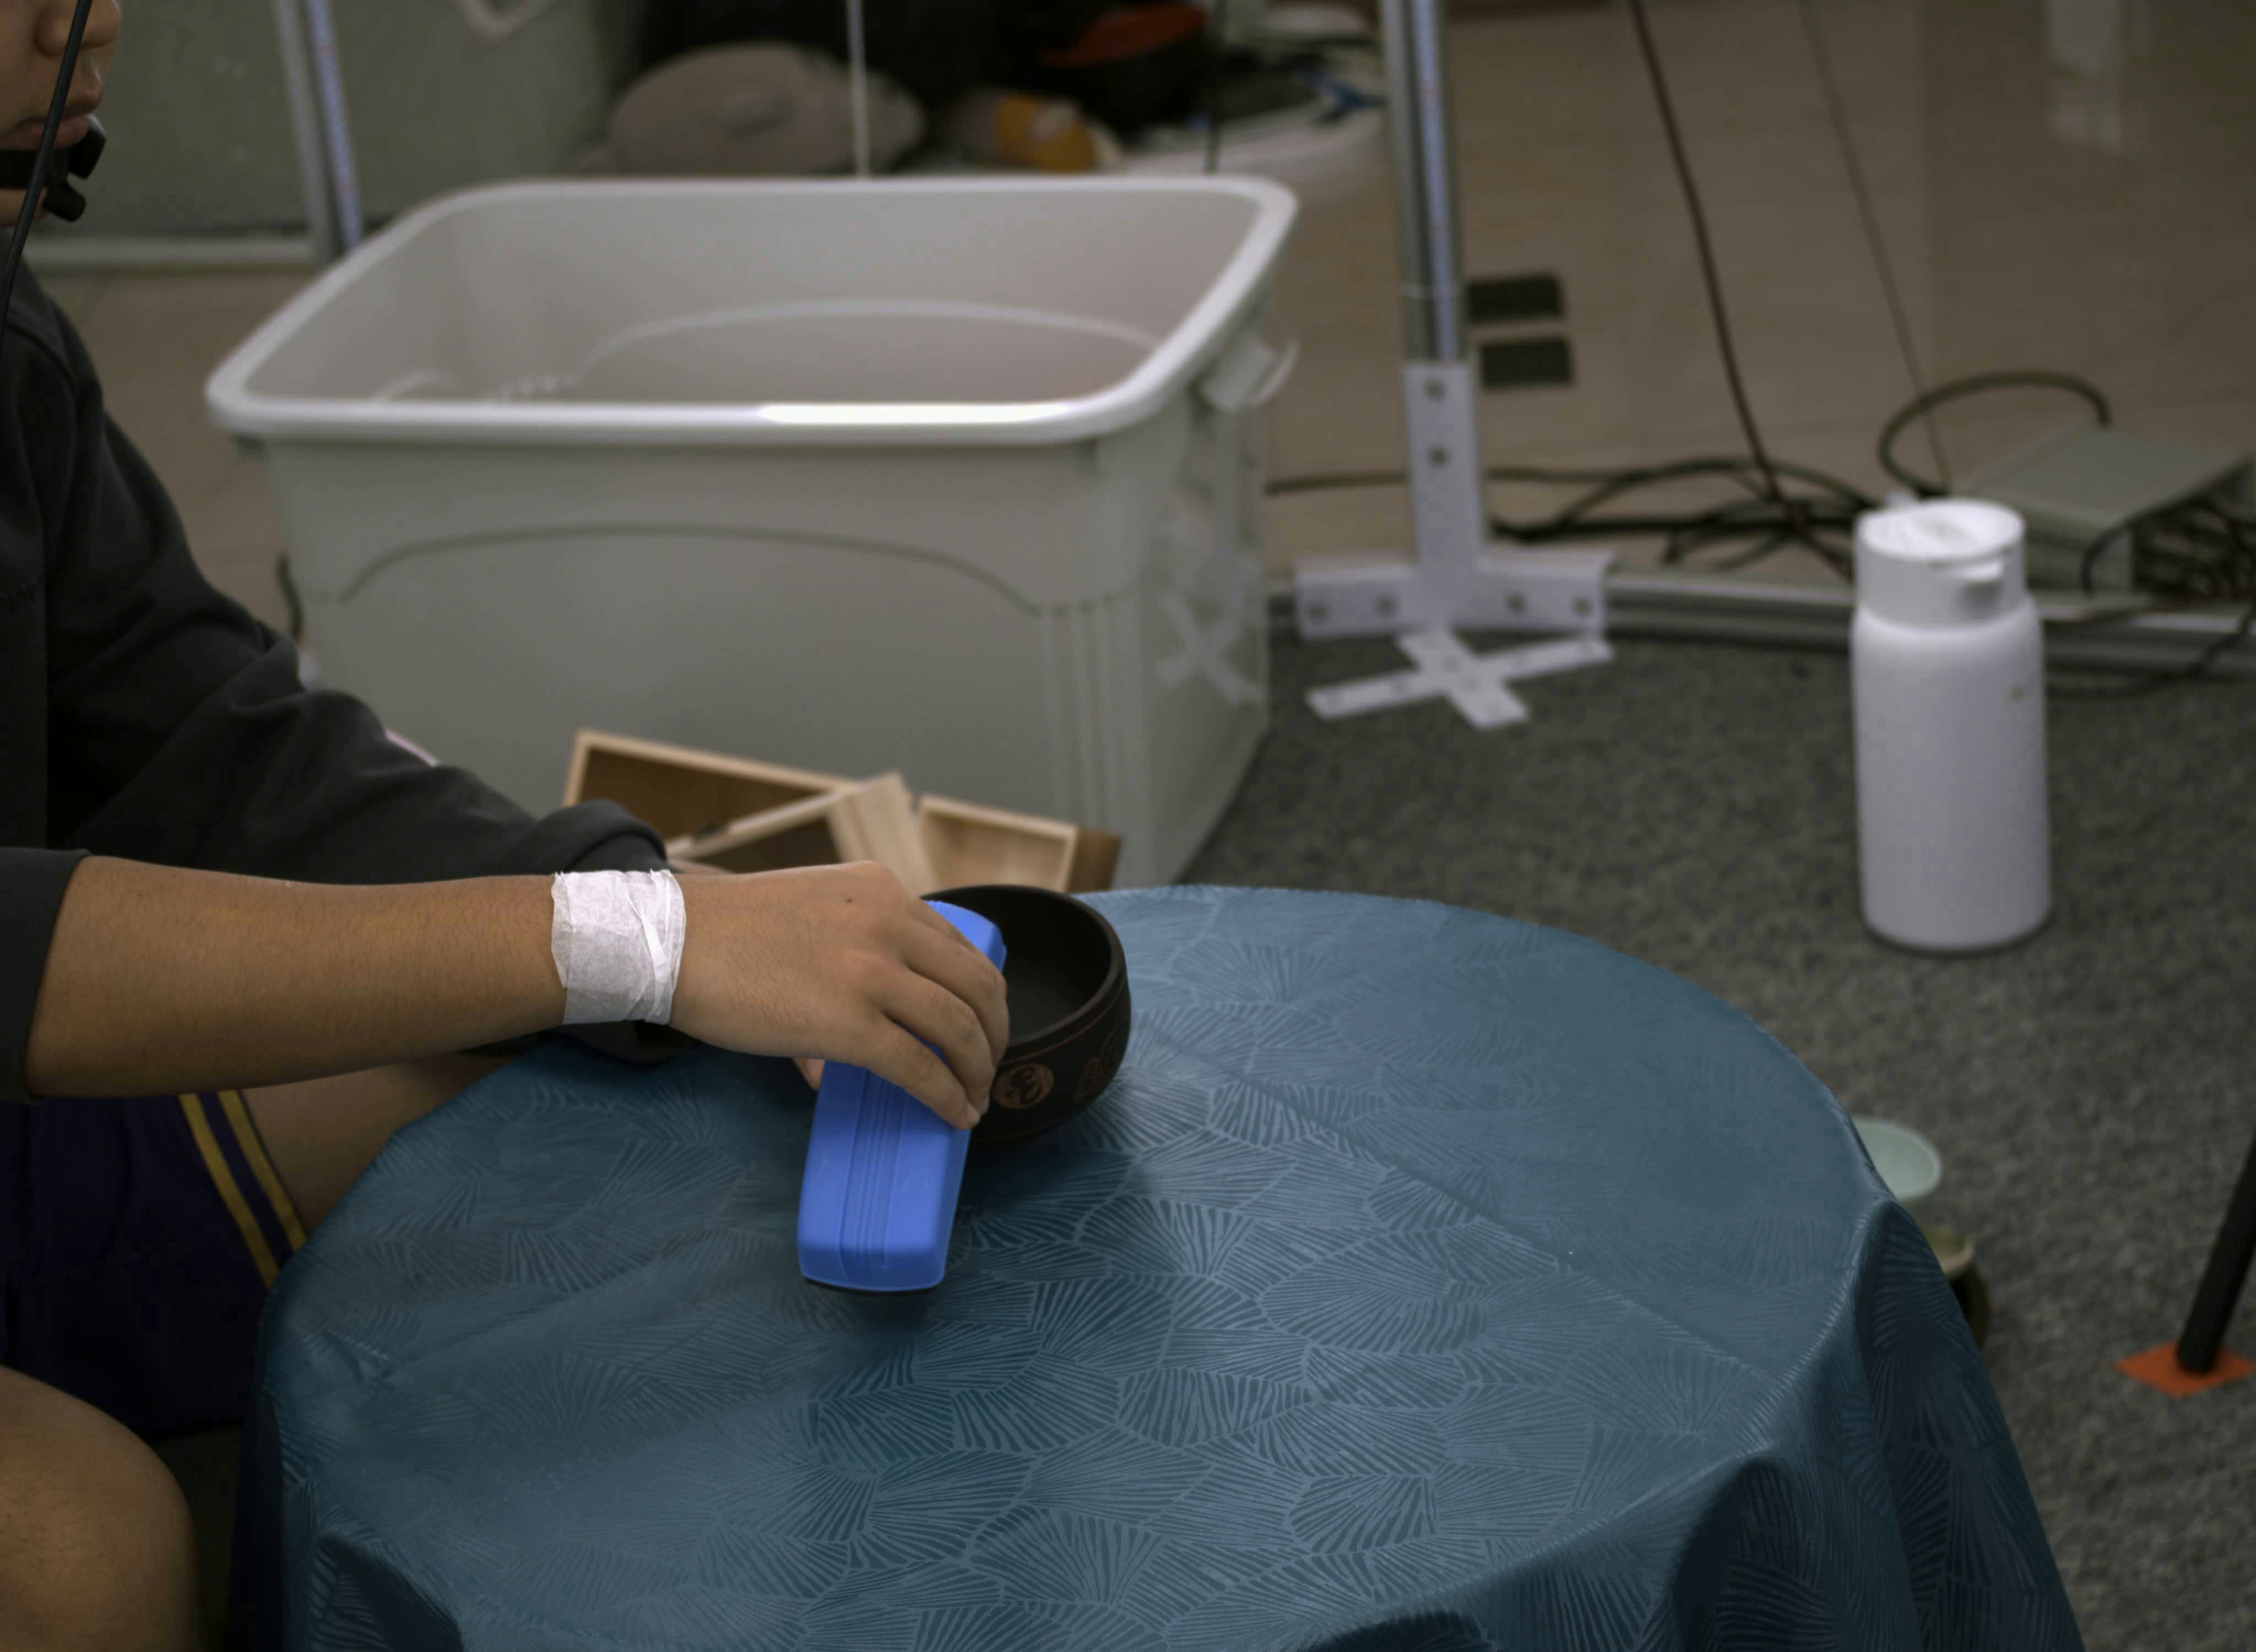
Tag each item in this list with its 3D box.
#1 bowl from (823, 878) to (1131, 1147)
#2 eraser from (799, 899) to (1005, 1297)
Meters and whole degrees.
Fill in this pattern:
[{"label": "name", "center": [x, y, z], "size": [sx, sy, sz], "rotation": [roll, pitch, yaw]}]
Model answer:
[{"label": "bowl", "center": [-0.056, 0.080, 2.190], "size": [0.118, 0.071, 0.116], "rotation": [-6, 35, 4]}, {"label": "eraser", "center": [-0.083, 0.095, 2.094], "size": [0.054, 0.048, 0.159], "rotation": [5, 54, 6]}]
